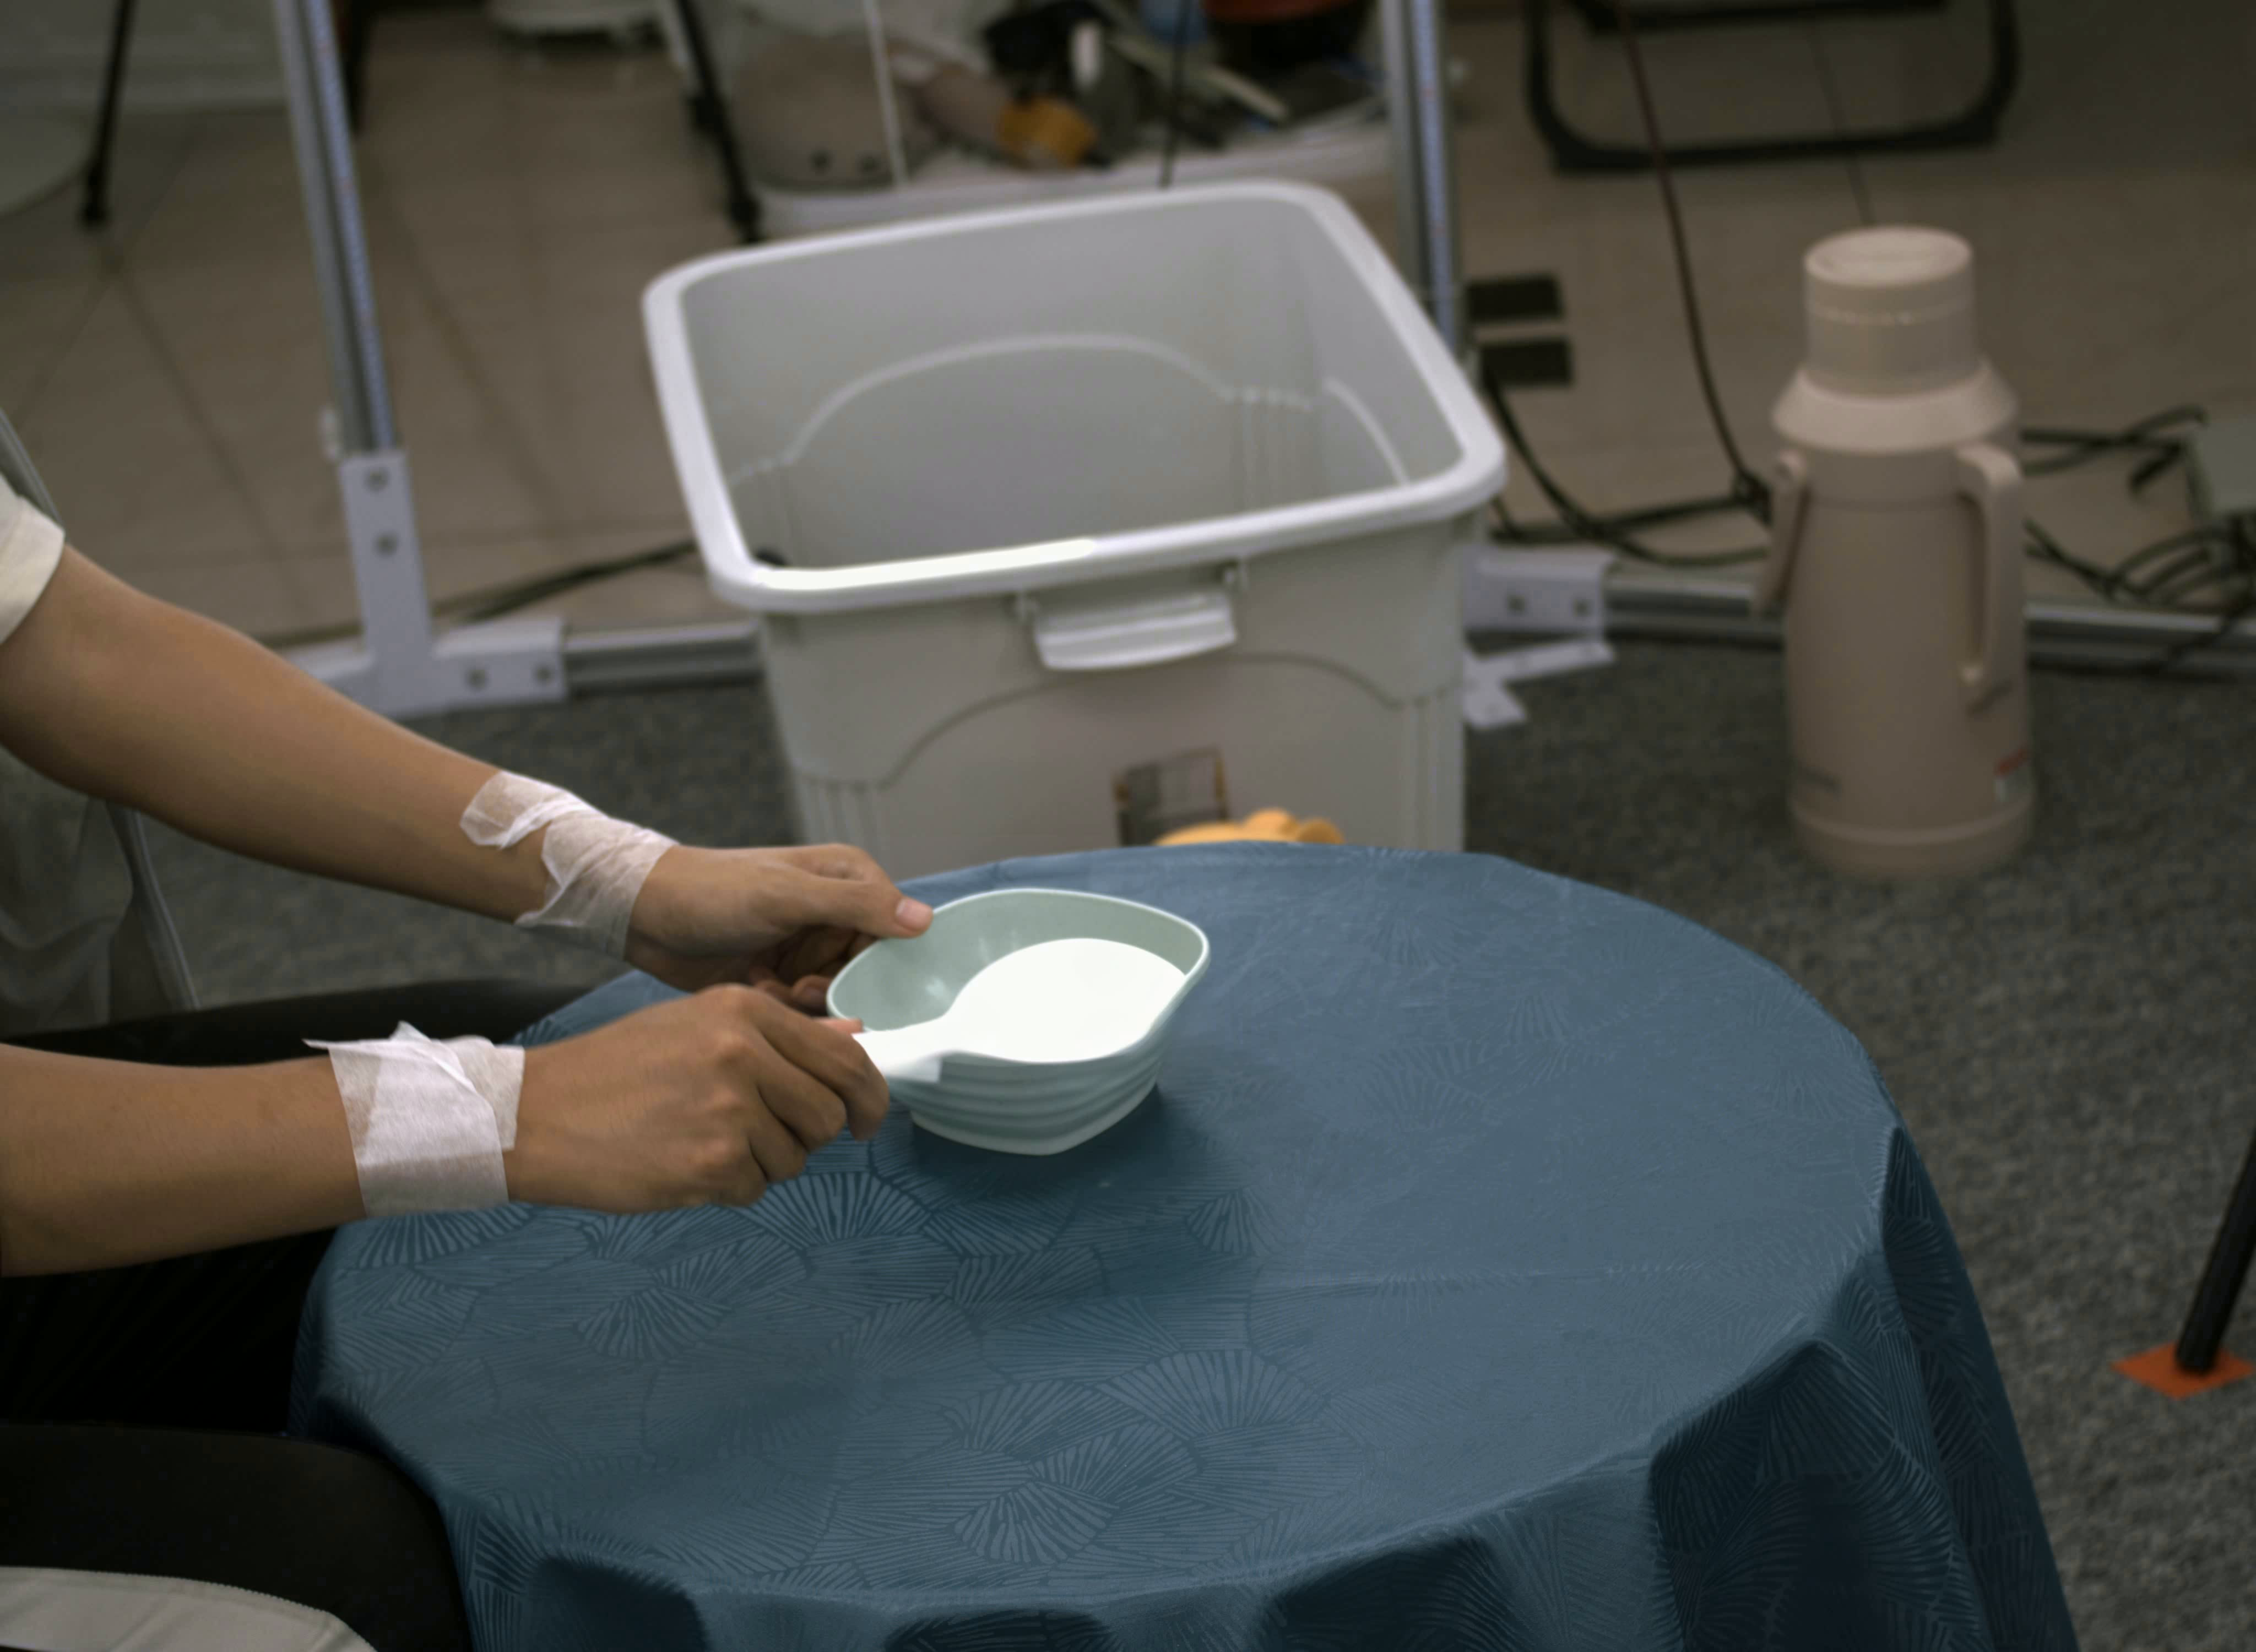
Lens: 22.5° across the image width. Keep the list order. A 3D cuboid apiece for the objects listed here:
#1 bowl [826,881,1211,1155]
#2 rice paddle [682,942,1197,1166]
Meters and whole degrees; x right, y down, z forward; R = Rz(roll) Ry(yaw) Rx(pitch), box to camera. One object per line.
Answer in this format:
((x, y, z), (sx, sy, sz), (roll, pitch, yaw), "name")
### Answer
((-0.041, 0.080, 2.217), (0.151, 0.059, 0.149), (-3, 27, 2), "bowl")
((-0.065, 0.079, 2.054), (0.204, 0.030, 0.068), (-17, 43, -27), "rice paddle")
